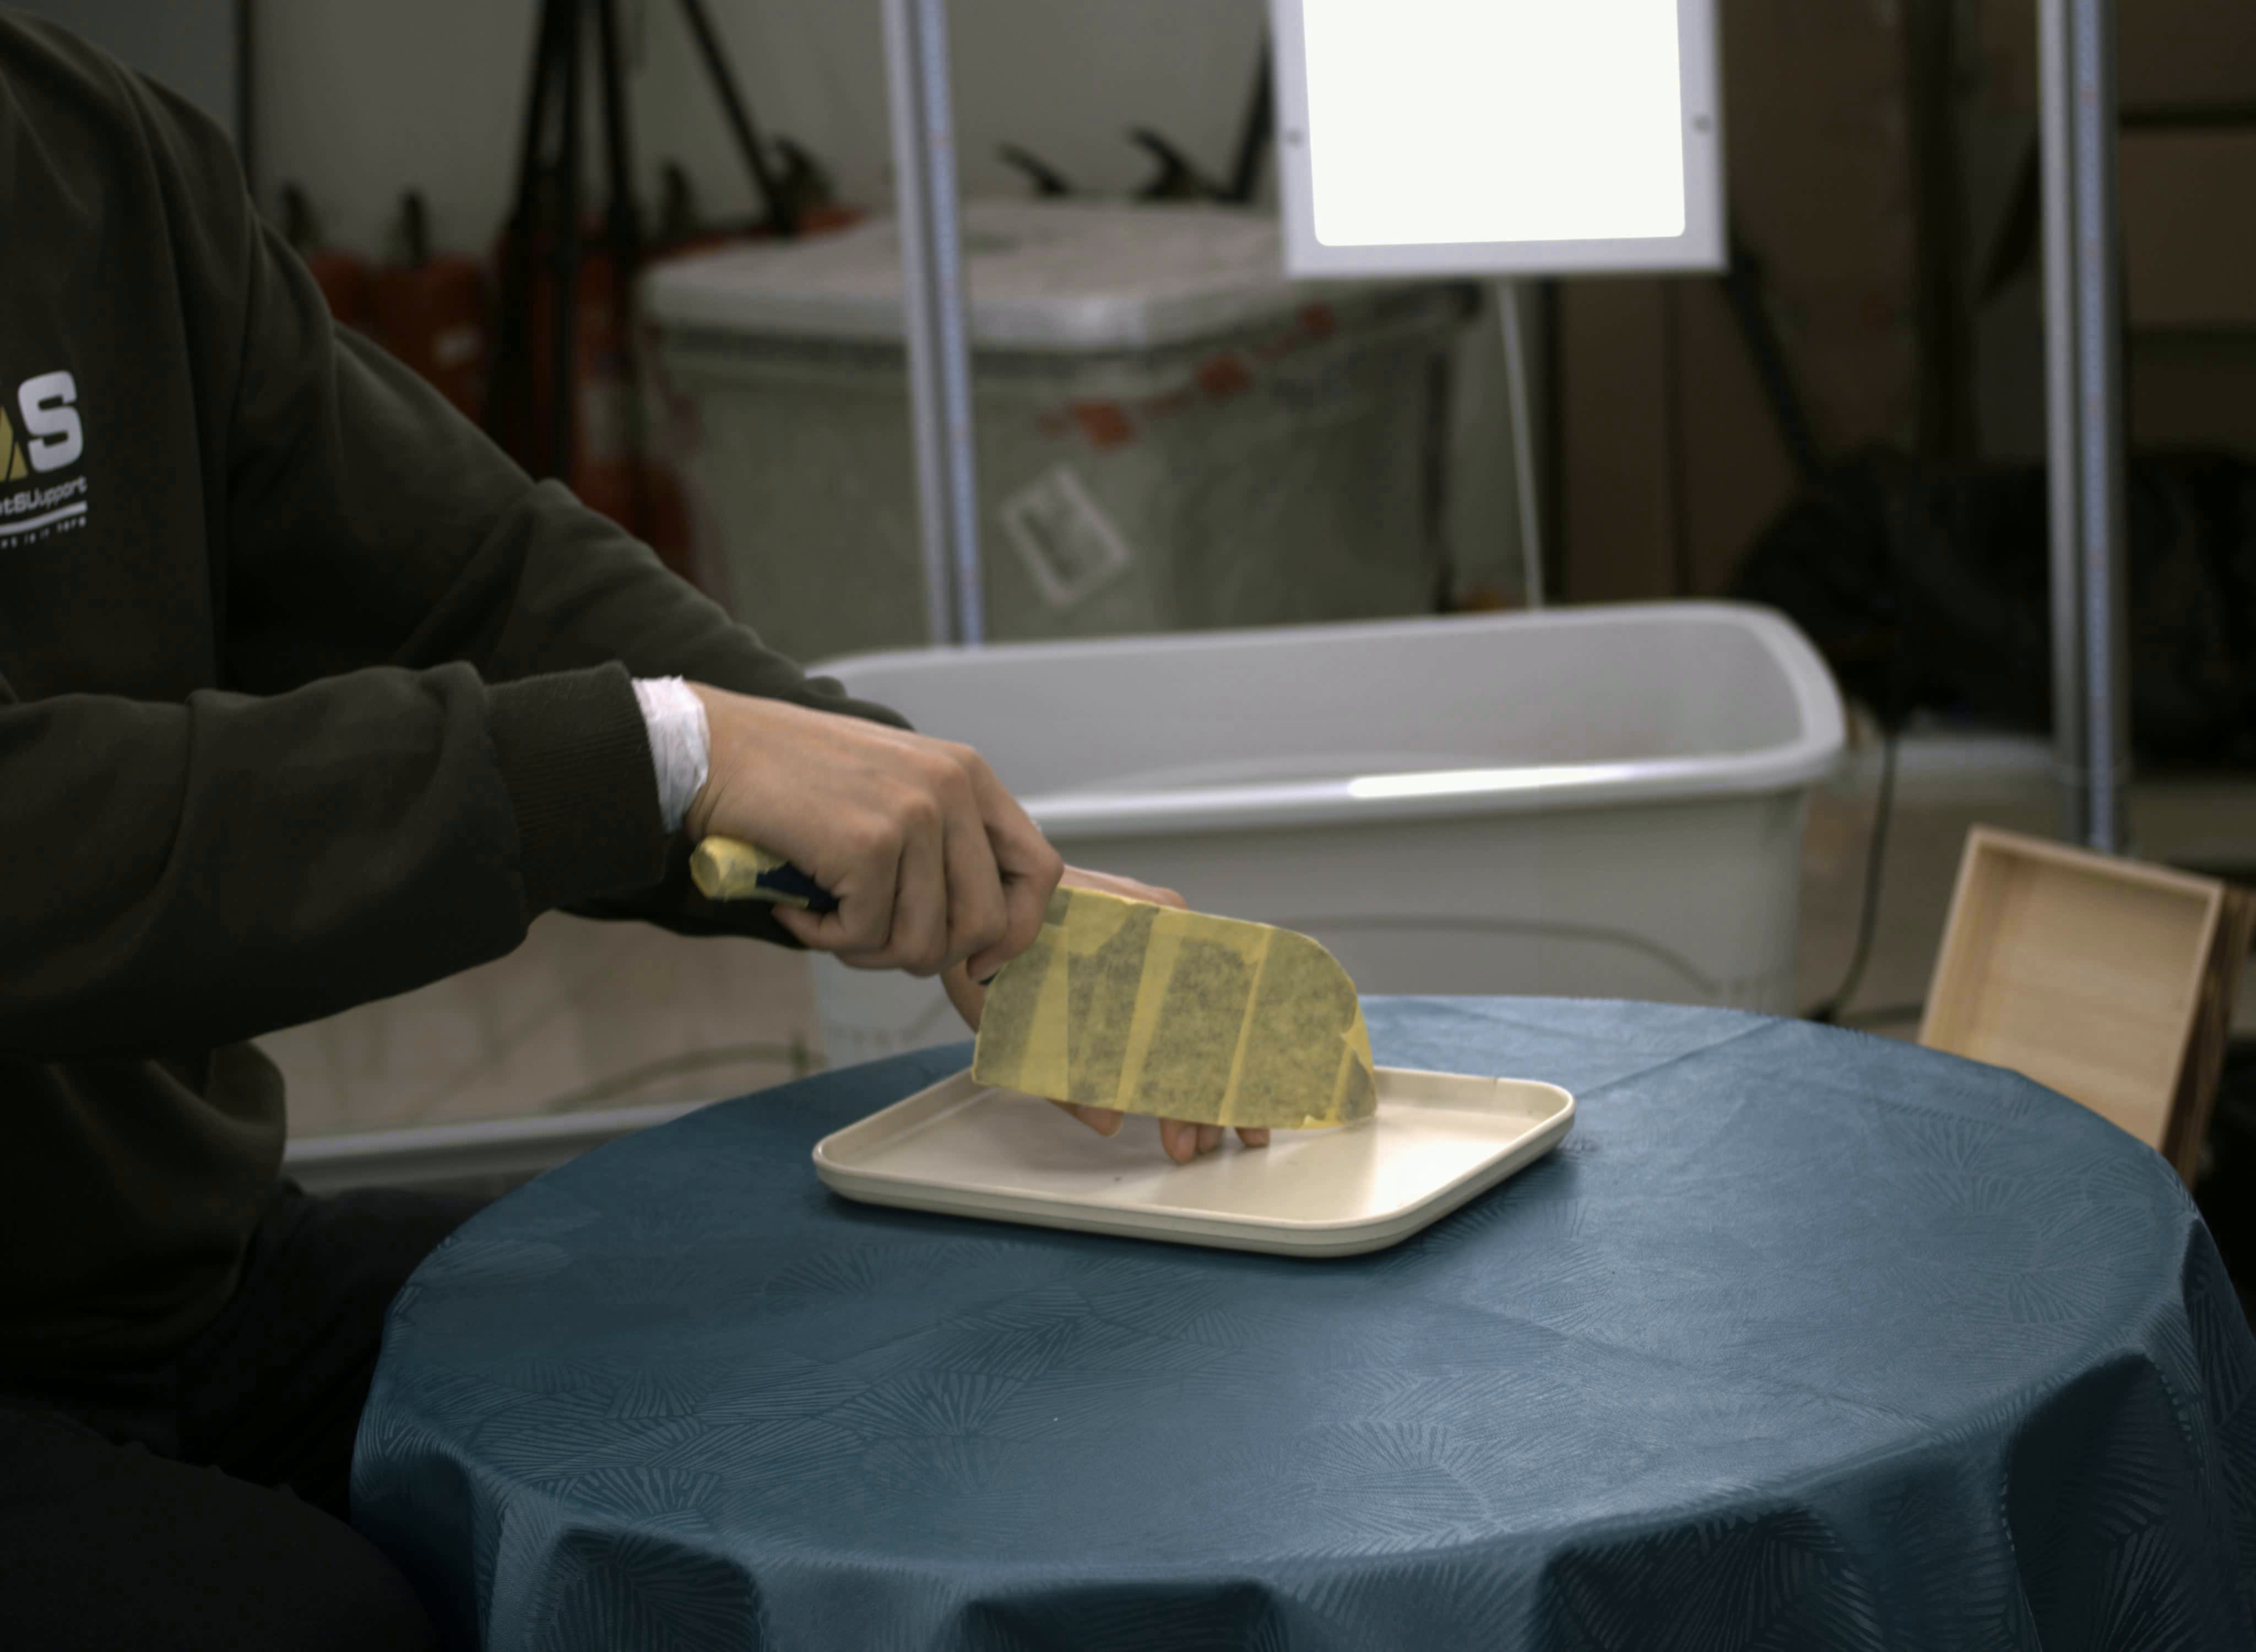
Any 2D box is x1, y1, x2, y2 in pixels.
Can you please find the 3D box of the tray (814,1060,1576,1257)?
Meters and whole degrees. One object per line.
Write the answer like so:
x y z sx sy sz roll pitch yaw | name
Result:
0.024 0.111 1.920 0.244 0.017 0.167 4 17 34 | tray

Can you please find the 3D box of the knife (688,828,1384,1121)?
-0.027 0.052 1.874 0.283 0.081 0.028 16 -2 -30 | knife
